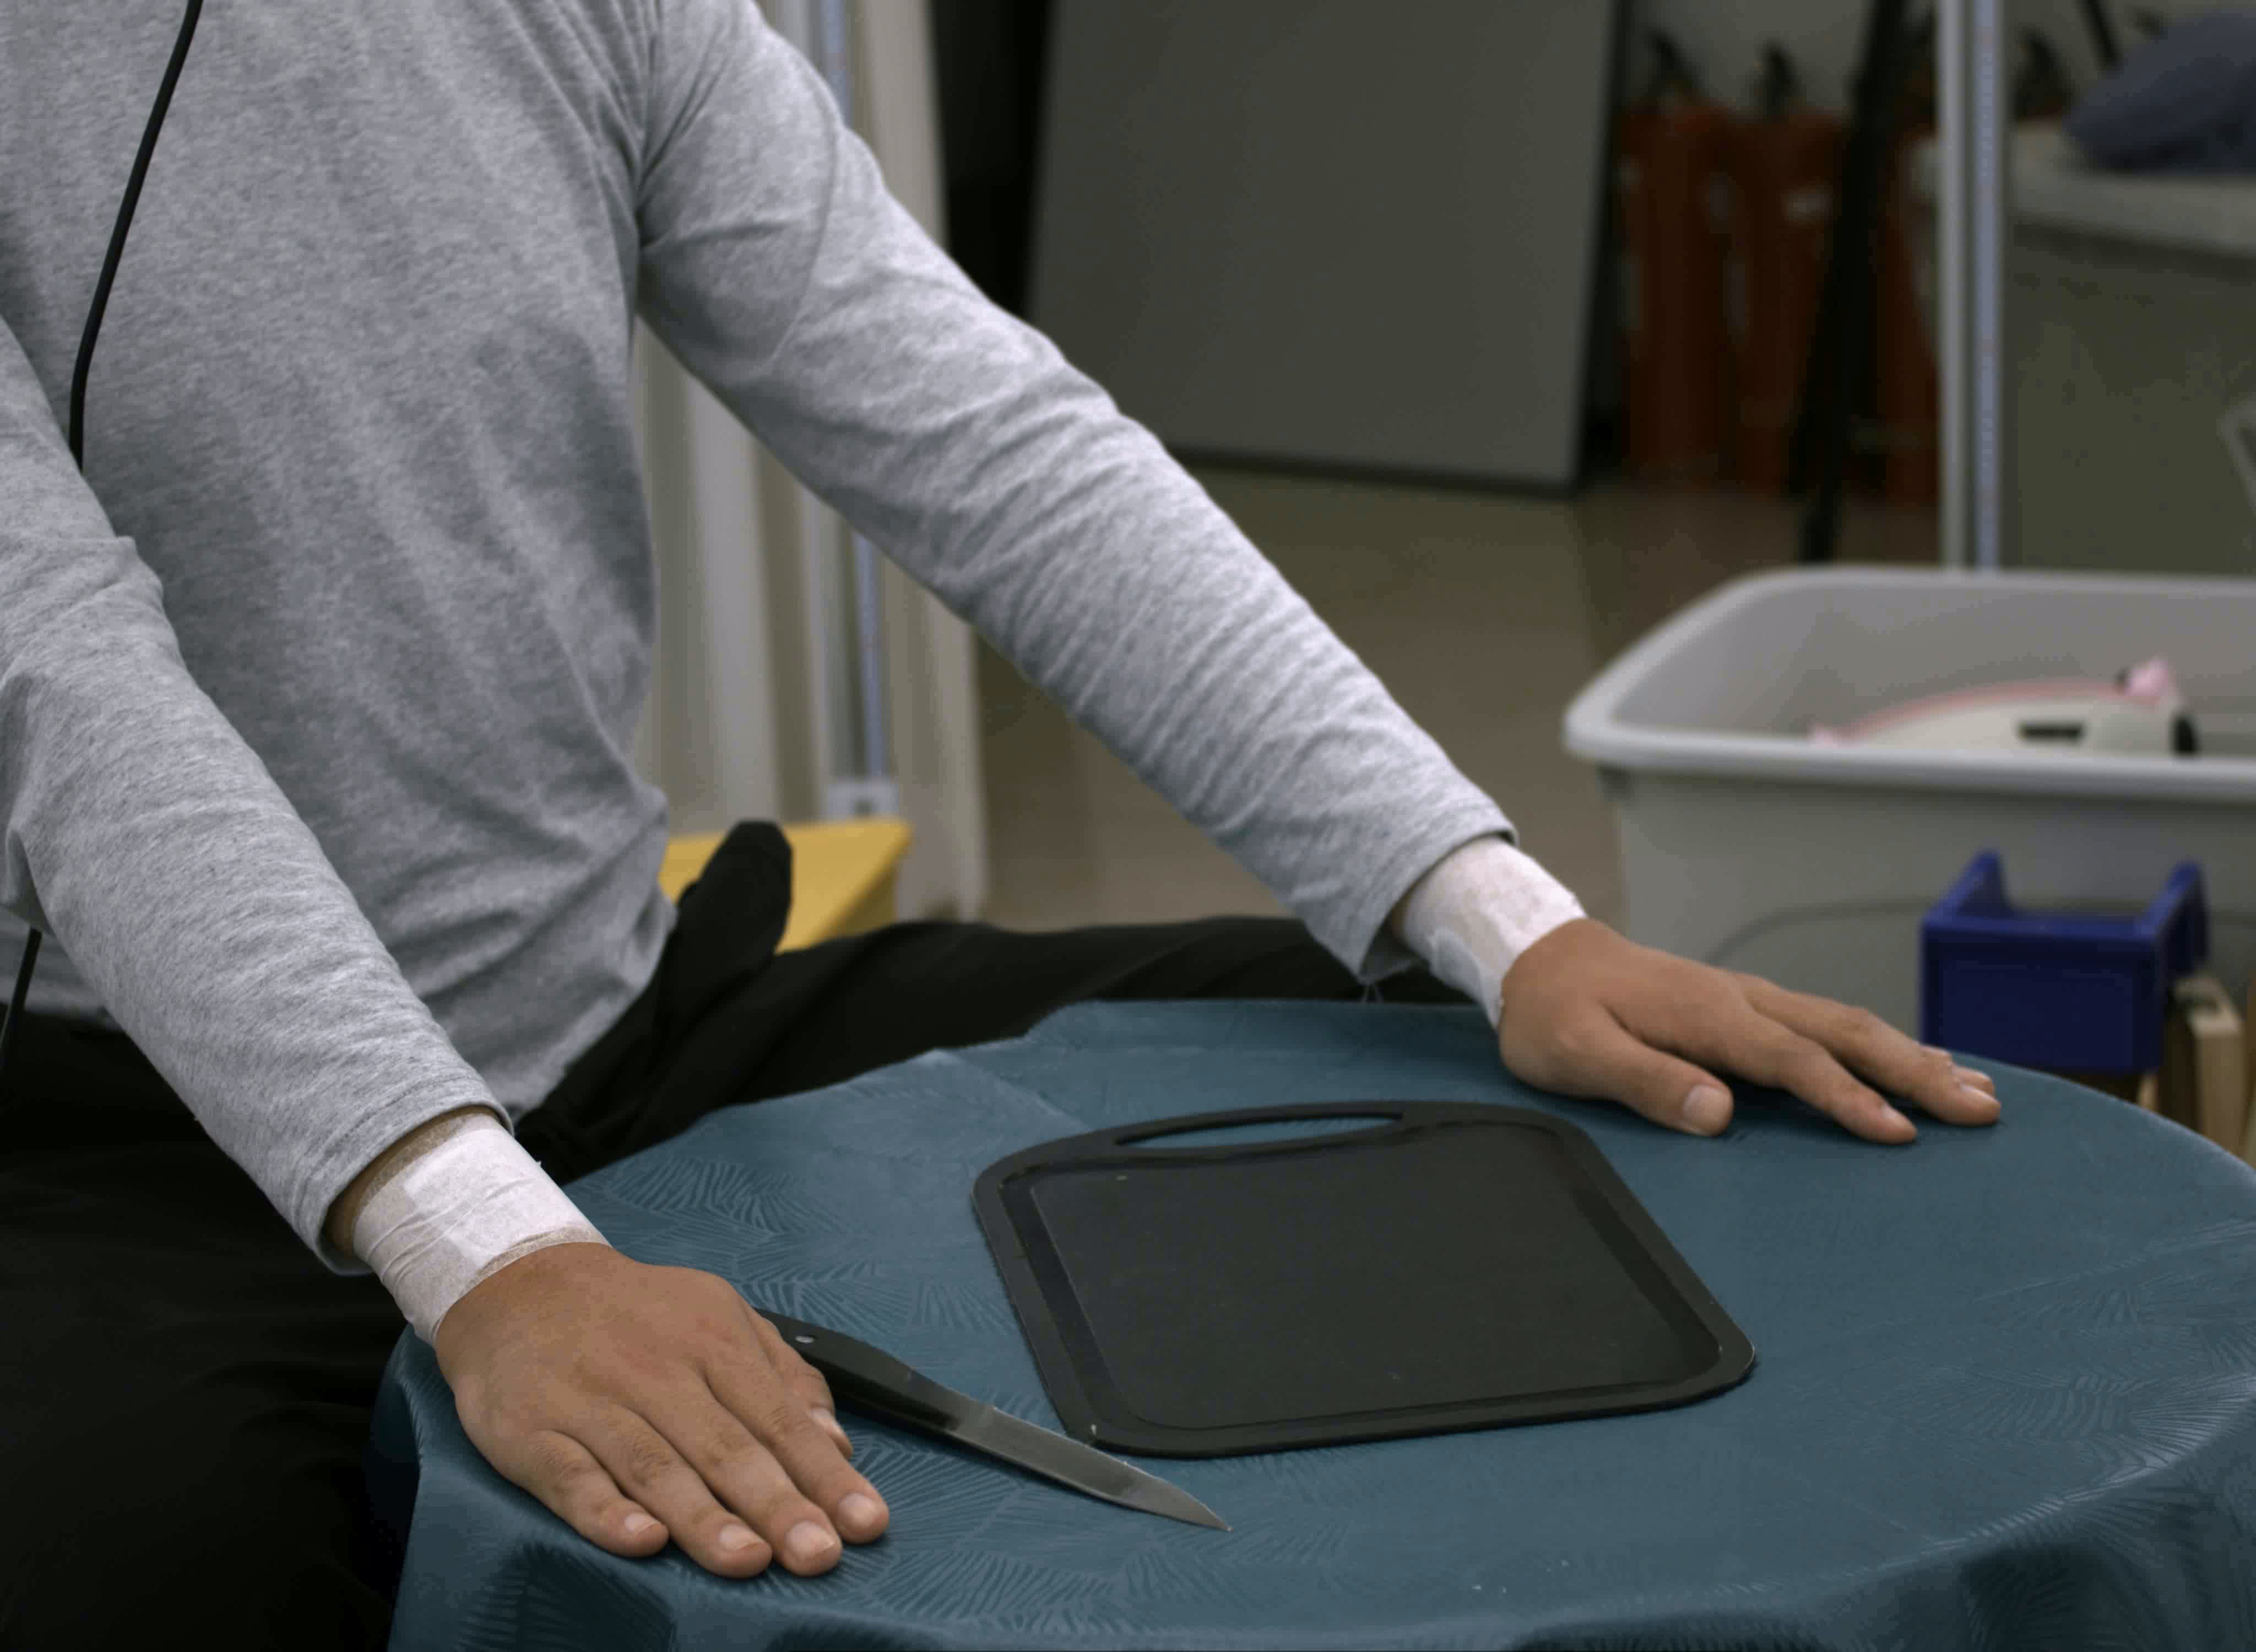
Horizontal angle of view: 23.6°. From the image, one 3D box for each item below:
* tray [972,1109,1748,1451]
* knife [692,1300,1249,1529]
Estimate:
[{"bbox_3d":[0.064,0.135,1.688,0.208,0.010,0.327,-5,13,-6],"label":"tray"},{"bbox_3d":[-0.050,0.172,1.558,0.024,0.016,0.240,-18,22,-39],"label":"knife"}]
